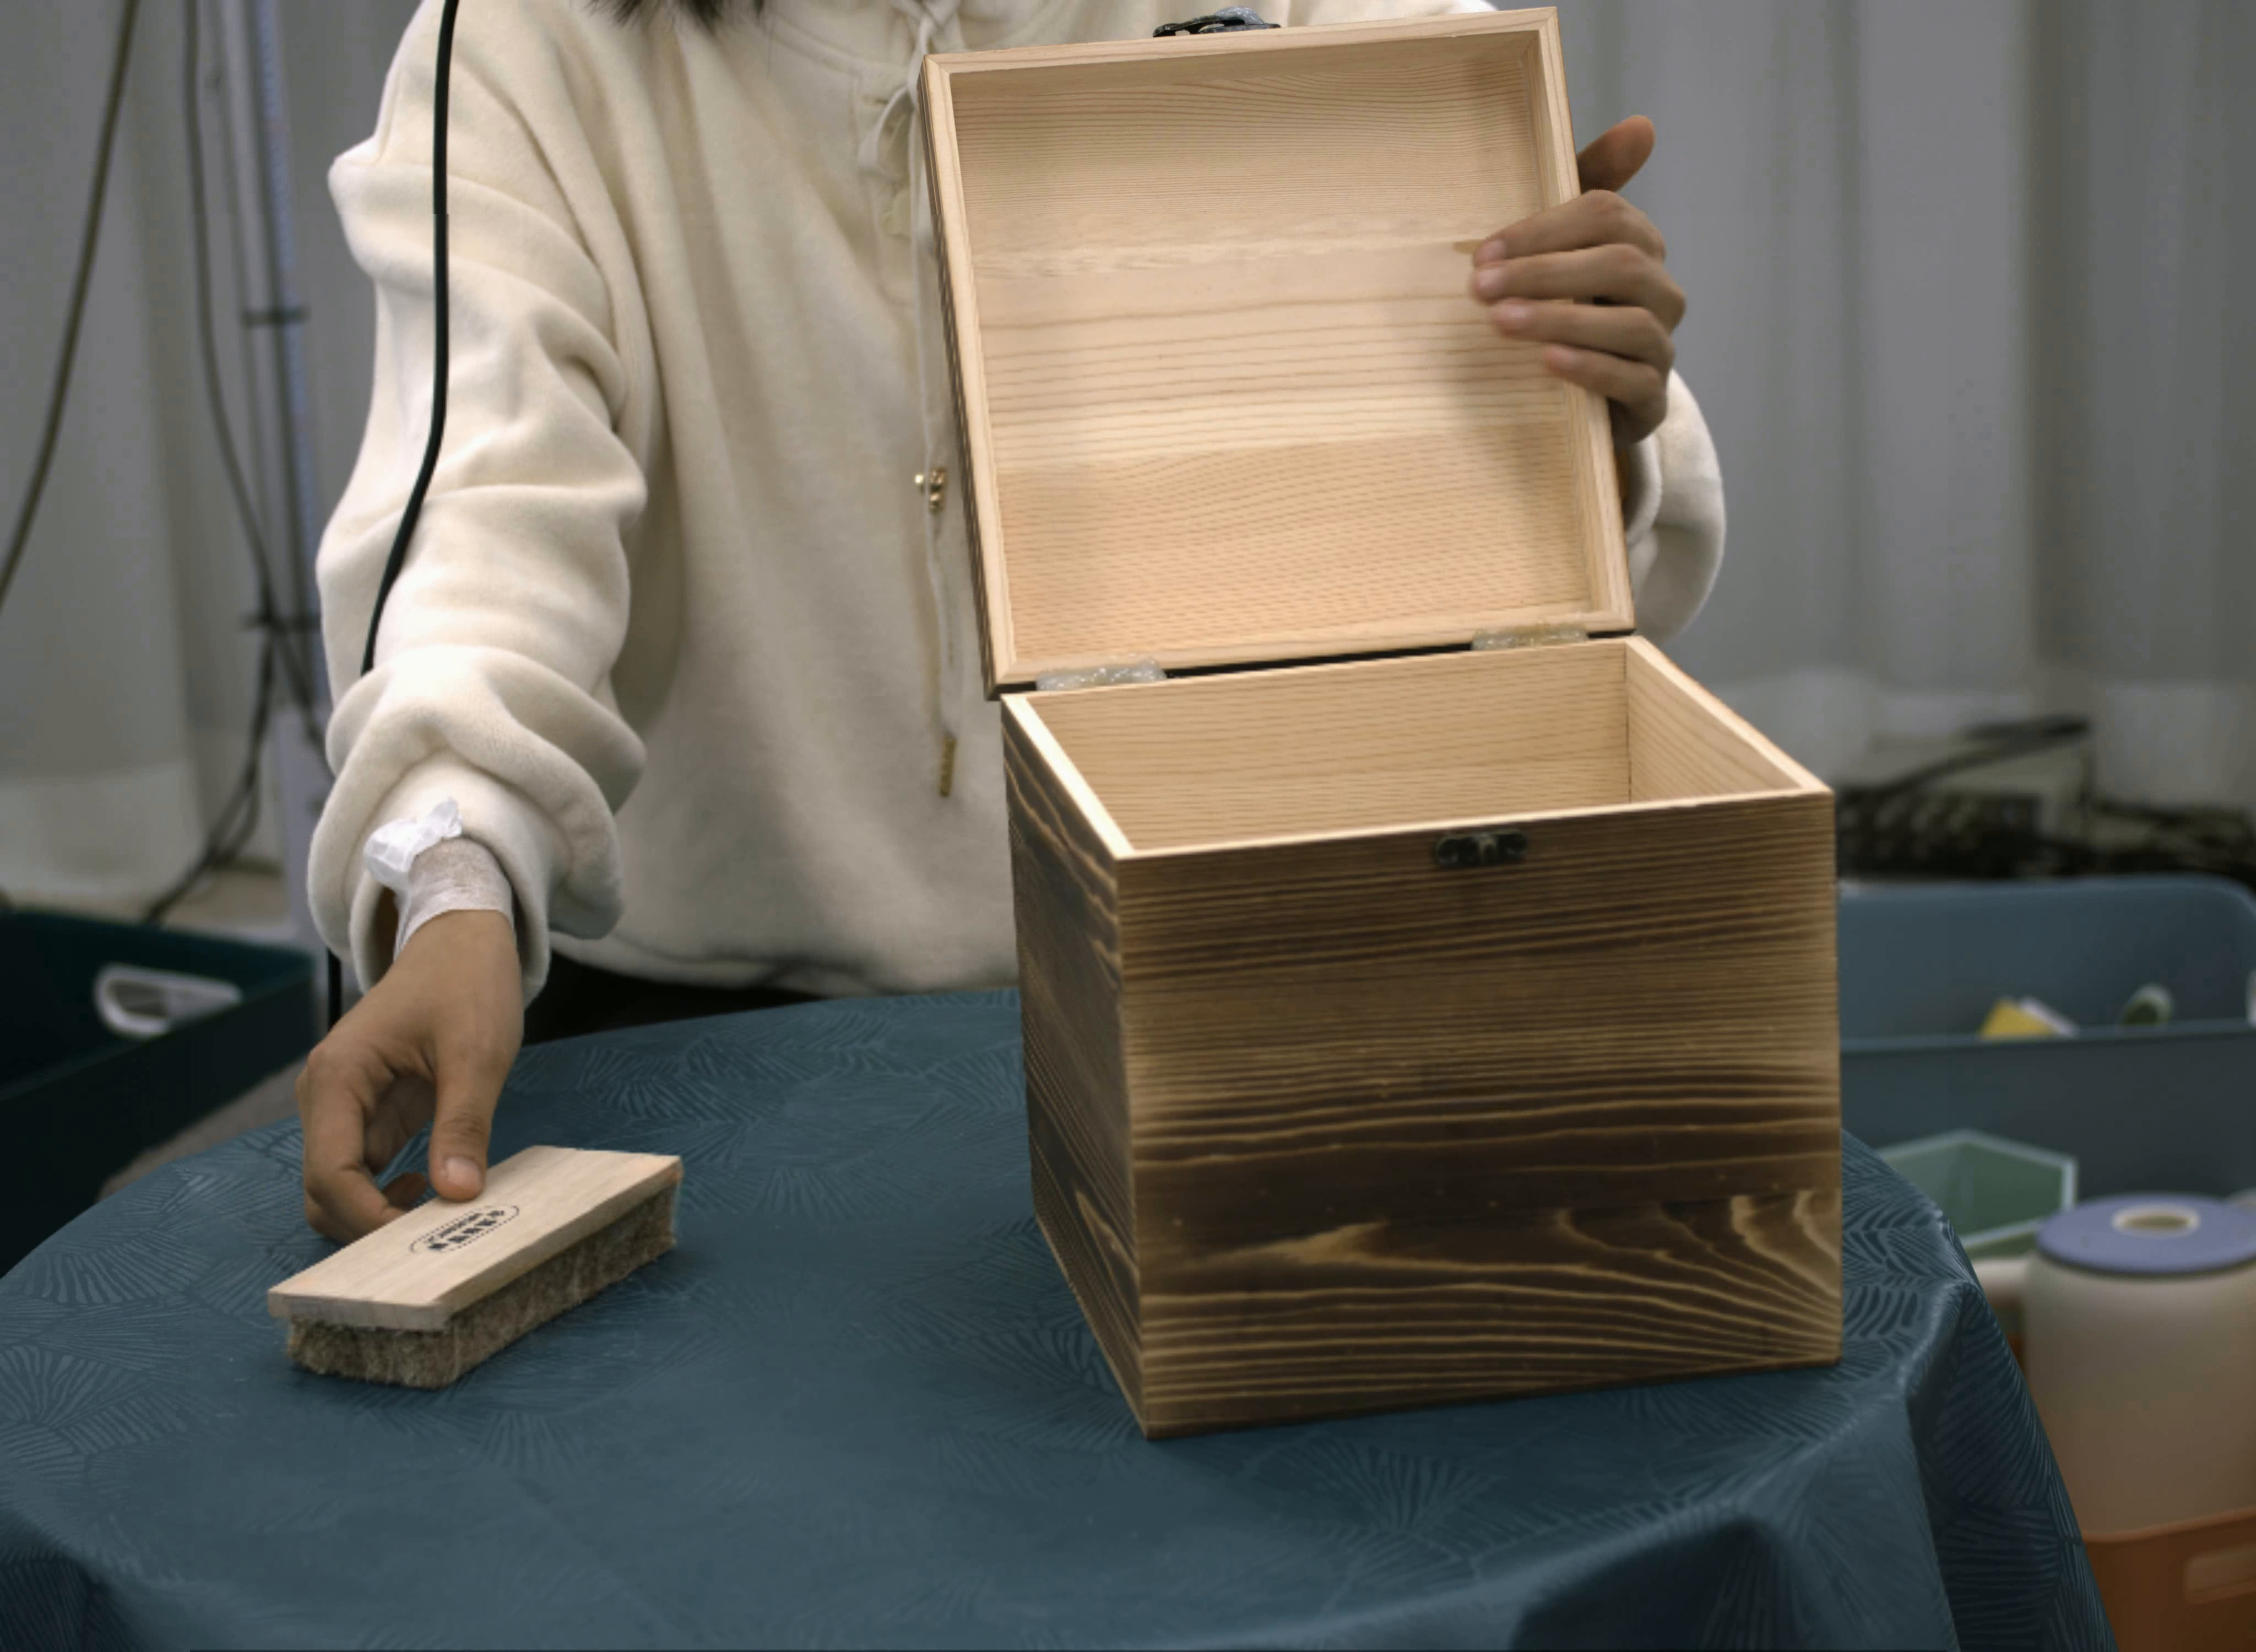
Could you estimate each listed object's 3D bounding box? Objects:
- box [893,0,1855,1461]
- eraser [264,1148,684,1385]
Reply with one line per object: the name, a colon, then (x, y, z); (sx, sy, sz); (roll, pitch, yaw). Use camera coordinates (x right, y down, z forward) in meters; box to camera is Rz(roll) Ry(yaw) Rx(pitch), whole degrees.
box: (0.065, -0.051, 1.621); (0.208, 0.374, 0.324); (-6, 15, -9)
eraser: (-0.193, 0.131, 1.637); (0.057, 0.029, 0.139); (3, 15, 29)
